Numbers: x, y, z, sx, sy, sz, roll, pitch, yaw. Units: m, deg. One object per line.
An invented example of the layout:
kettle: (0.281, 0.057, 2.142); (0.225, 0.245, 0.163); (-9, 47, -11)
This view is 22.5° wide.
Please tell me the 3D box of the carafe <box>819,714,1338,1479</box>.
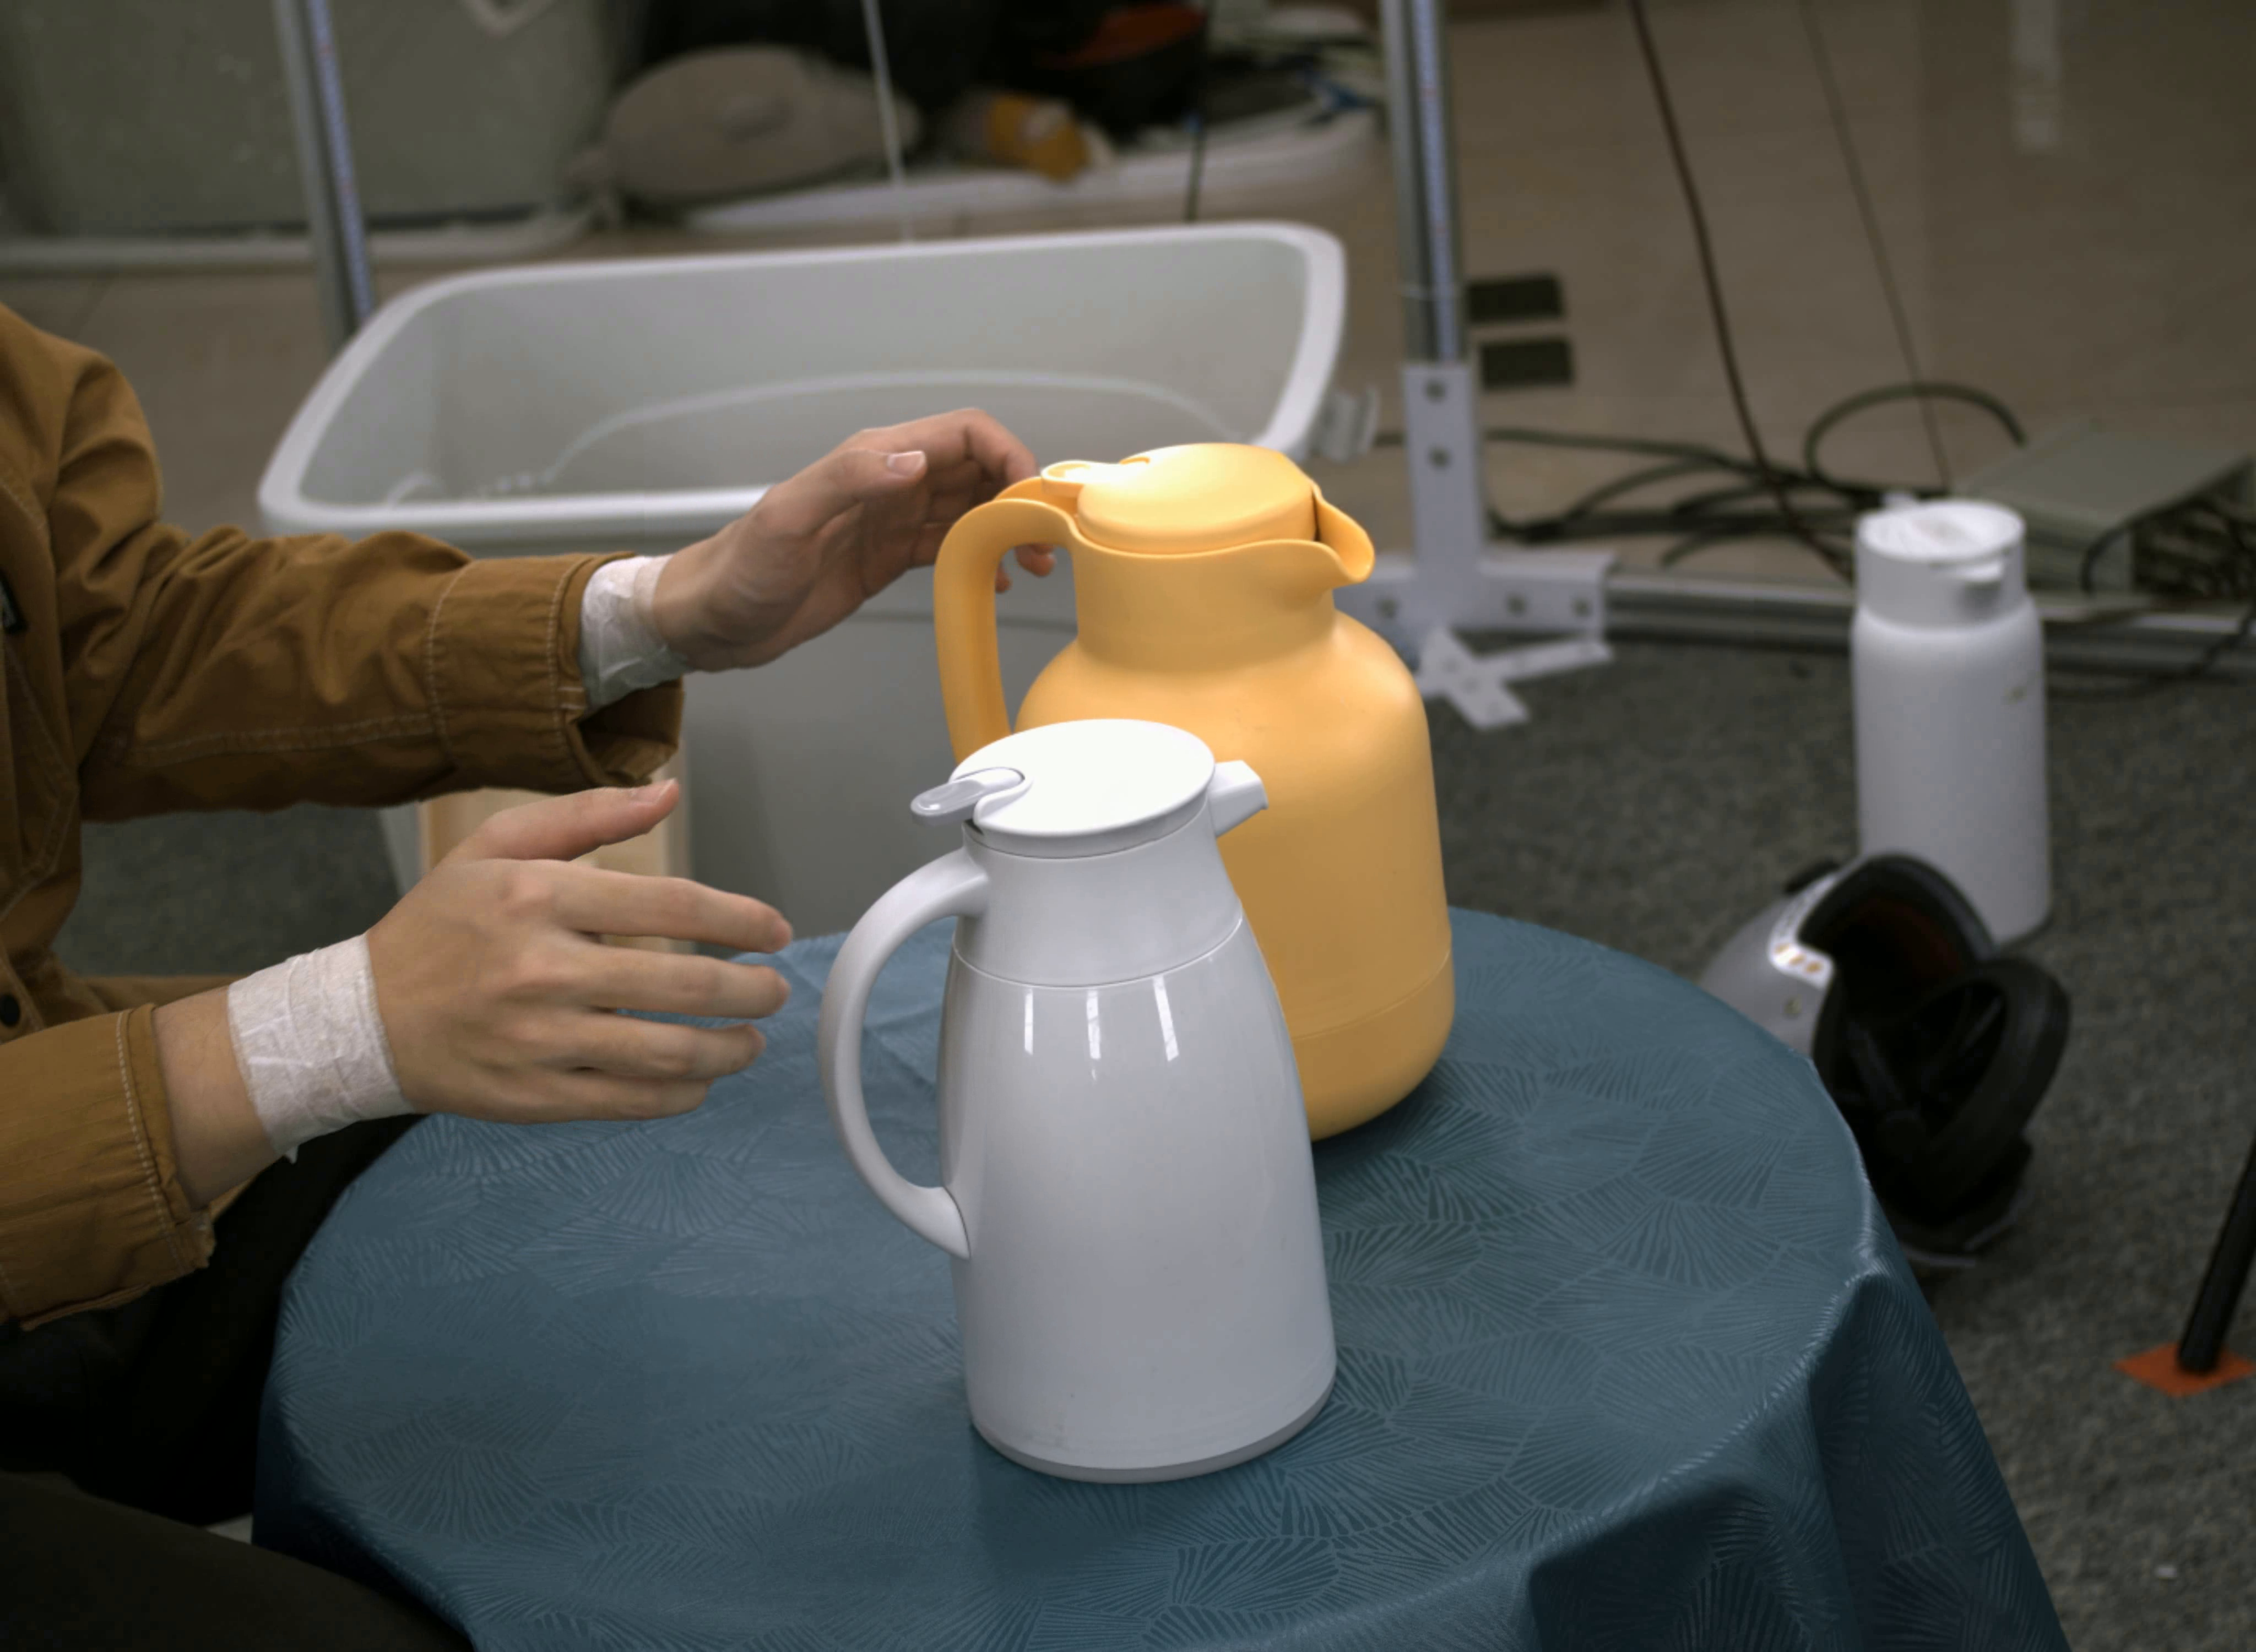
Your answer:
carafe: (-0.021, 0.091, 1.957); (0.167, 0.253, 0.131); (-15, 27, -15)

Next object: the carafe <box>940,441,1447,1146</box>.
carafe: (0.021, -0.020, 2.171); (0.201, 0.264, 0.162); (14, 30, 33)
